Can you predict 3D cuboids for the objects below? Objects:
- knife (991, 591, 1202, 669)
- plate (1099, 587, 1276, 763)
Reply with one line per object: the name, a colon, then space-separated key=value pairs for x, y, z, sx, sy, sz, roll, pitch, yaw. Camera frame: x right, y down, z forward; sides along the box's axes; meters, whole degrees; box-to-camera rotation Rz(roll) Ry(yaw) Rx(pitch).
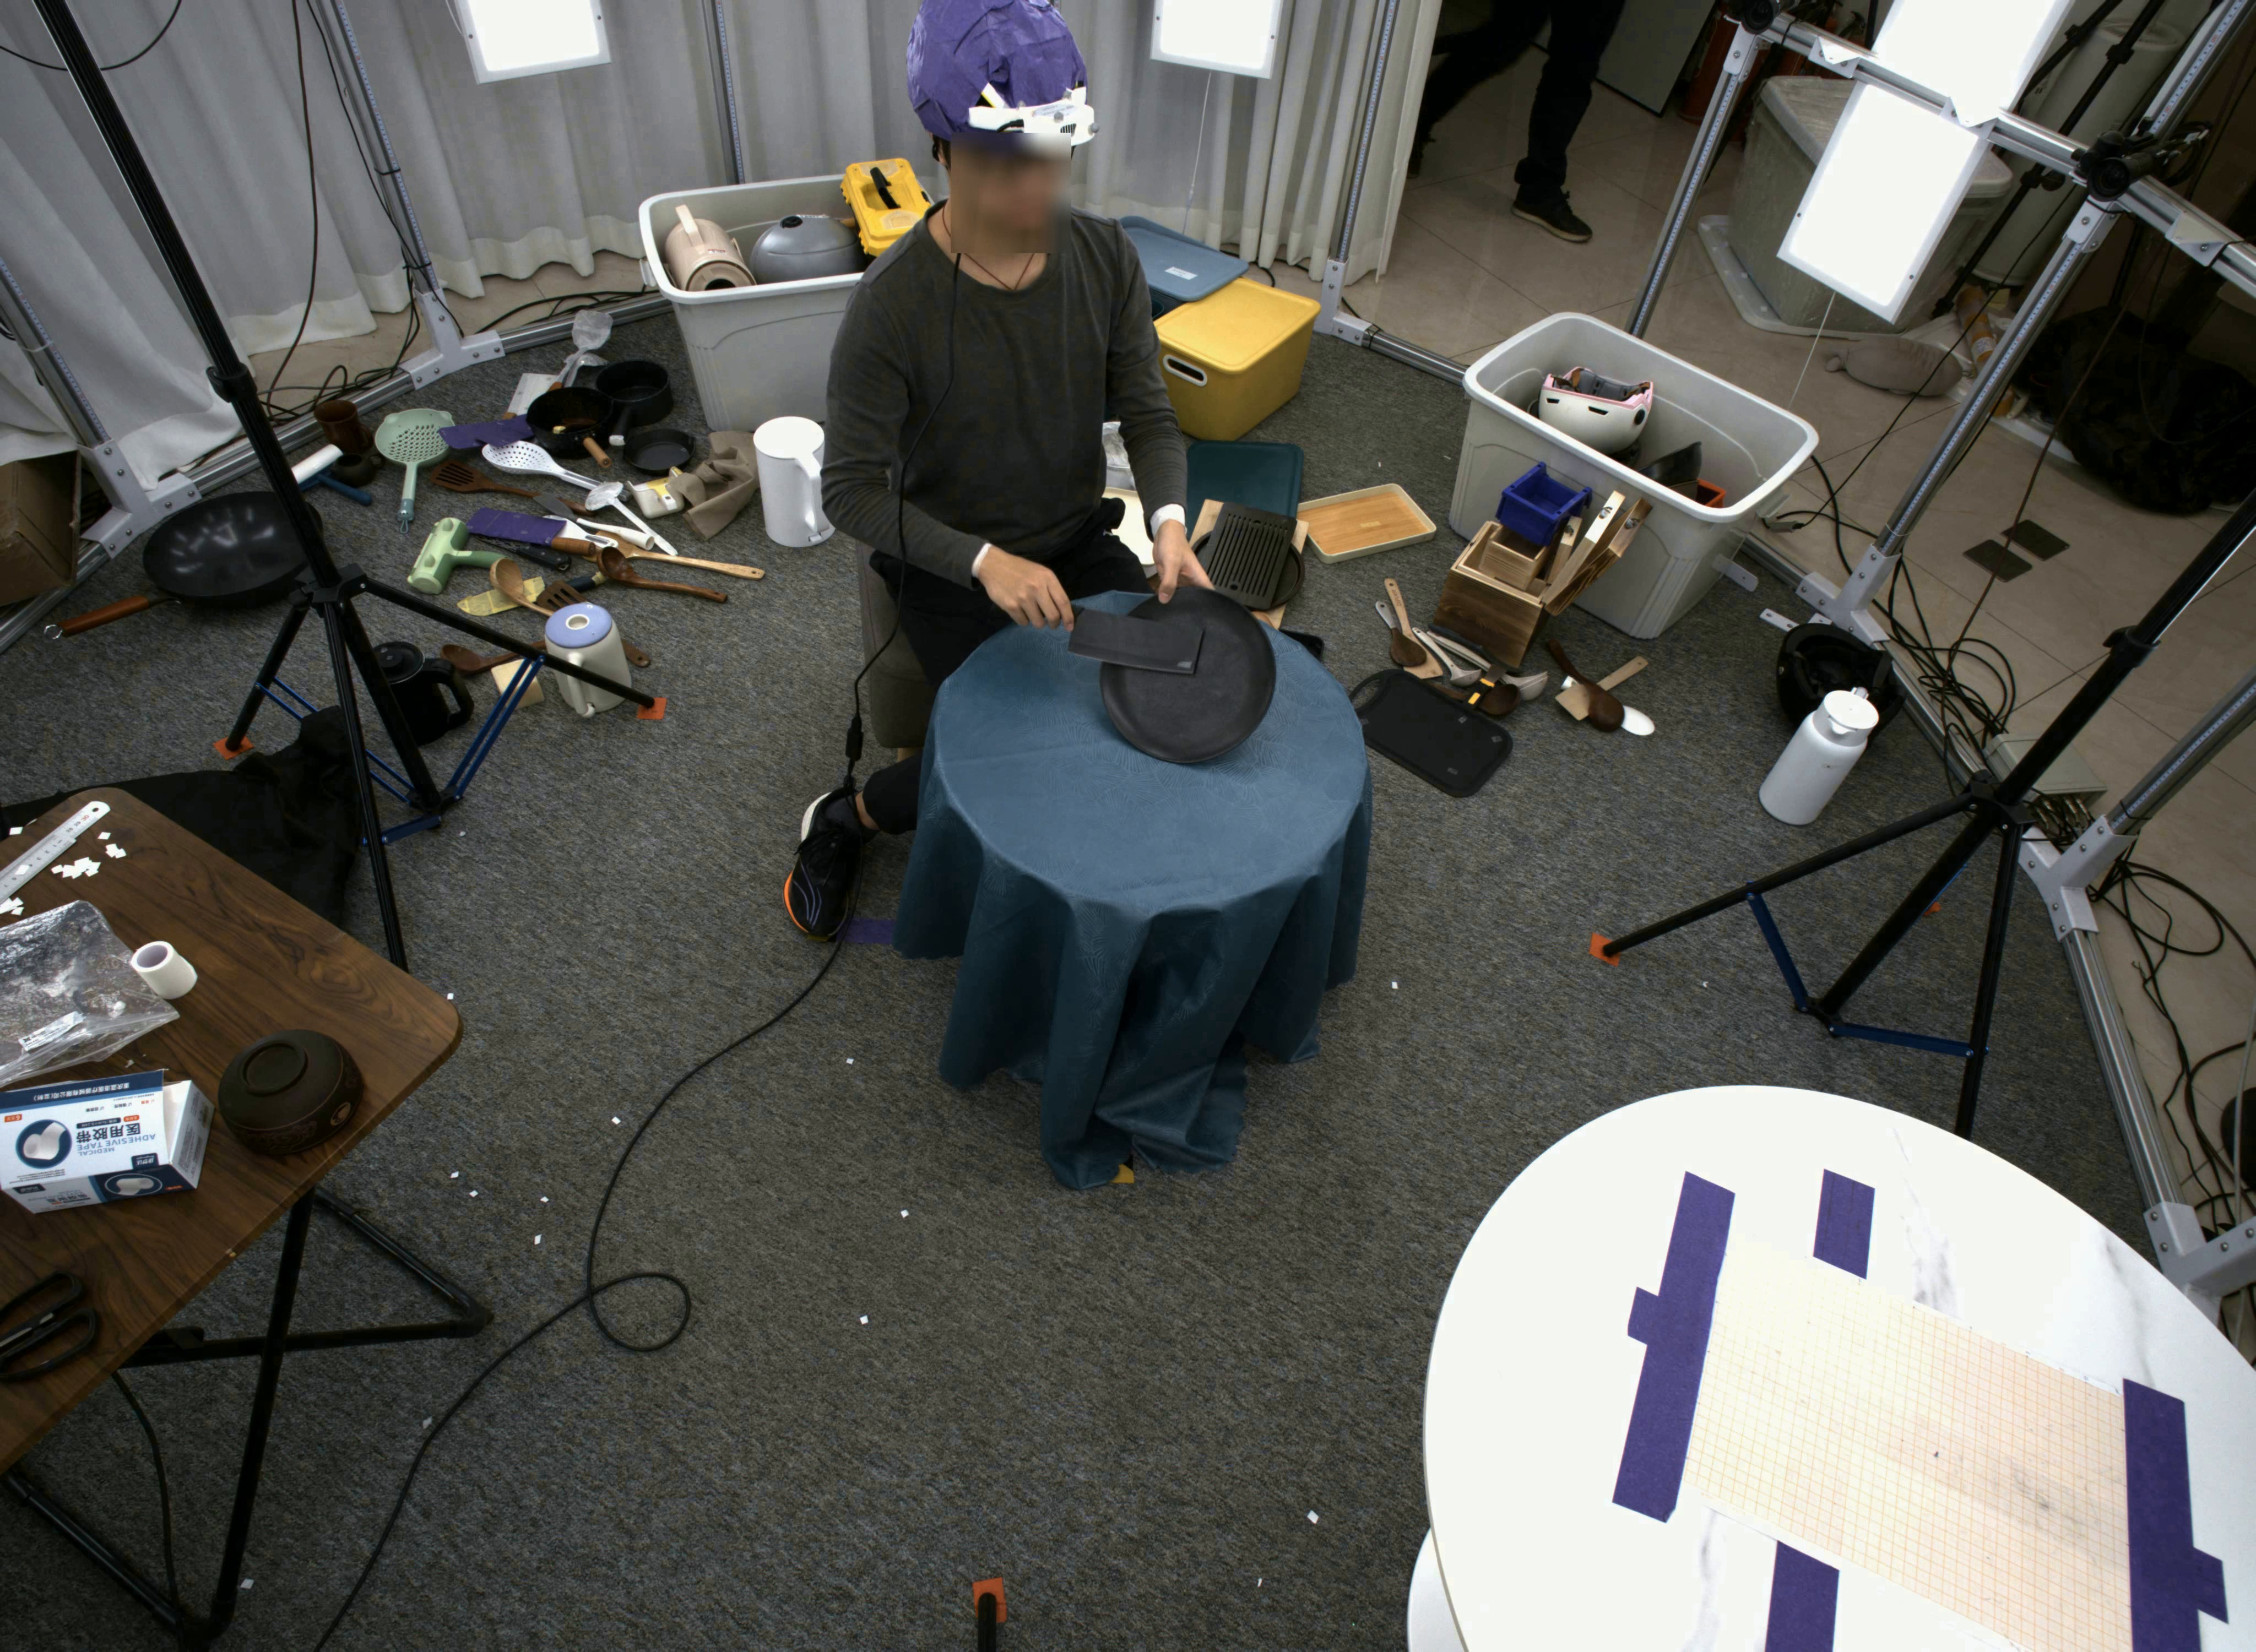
knife: x=-0.047 y=-0.275 z=1.785 sx=0.303 sy=0.021 sz=0.081 roll=16 pitch=87 yaw=12
plate: x=0.082 y=-0.206 z=1.761 sx=0.244 sy=0.023 sz=0.246 roll=-1 pitch=84 yaw=12
